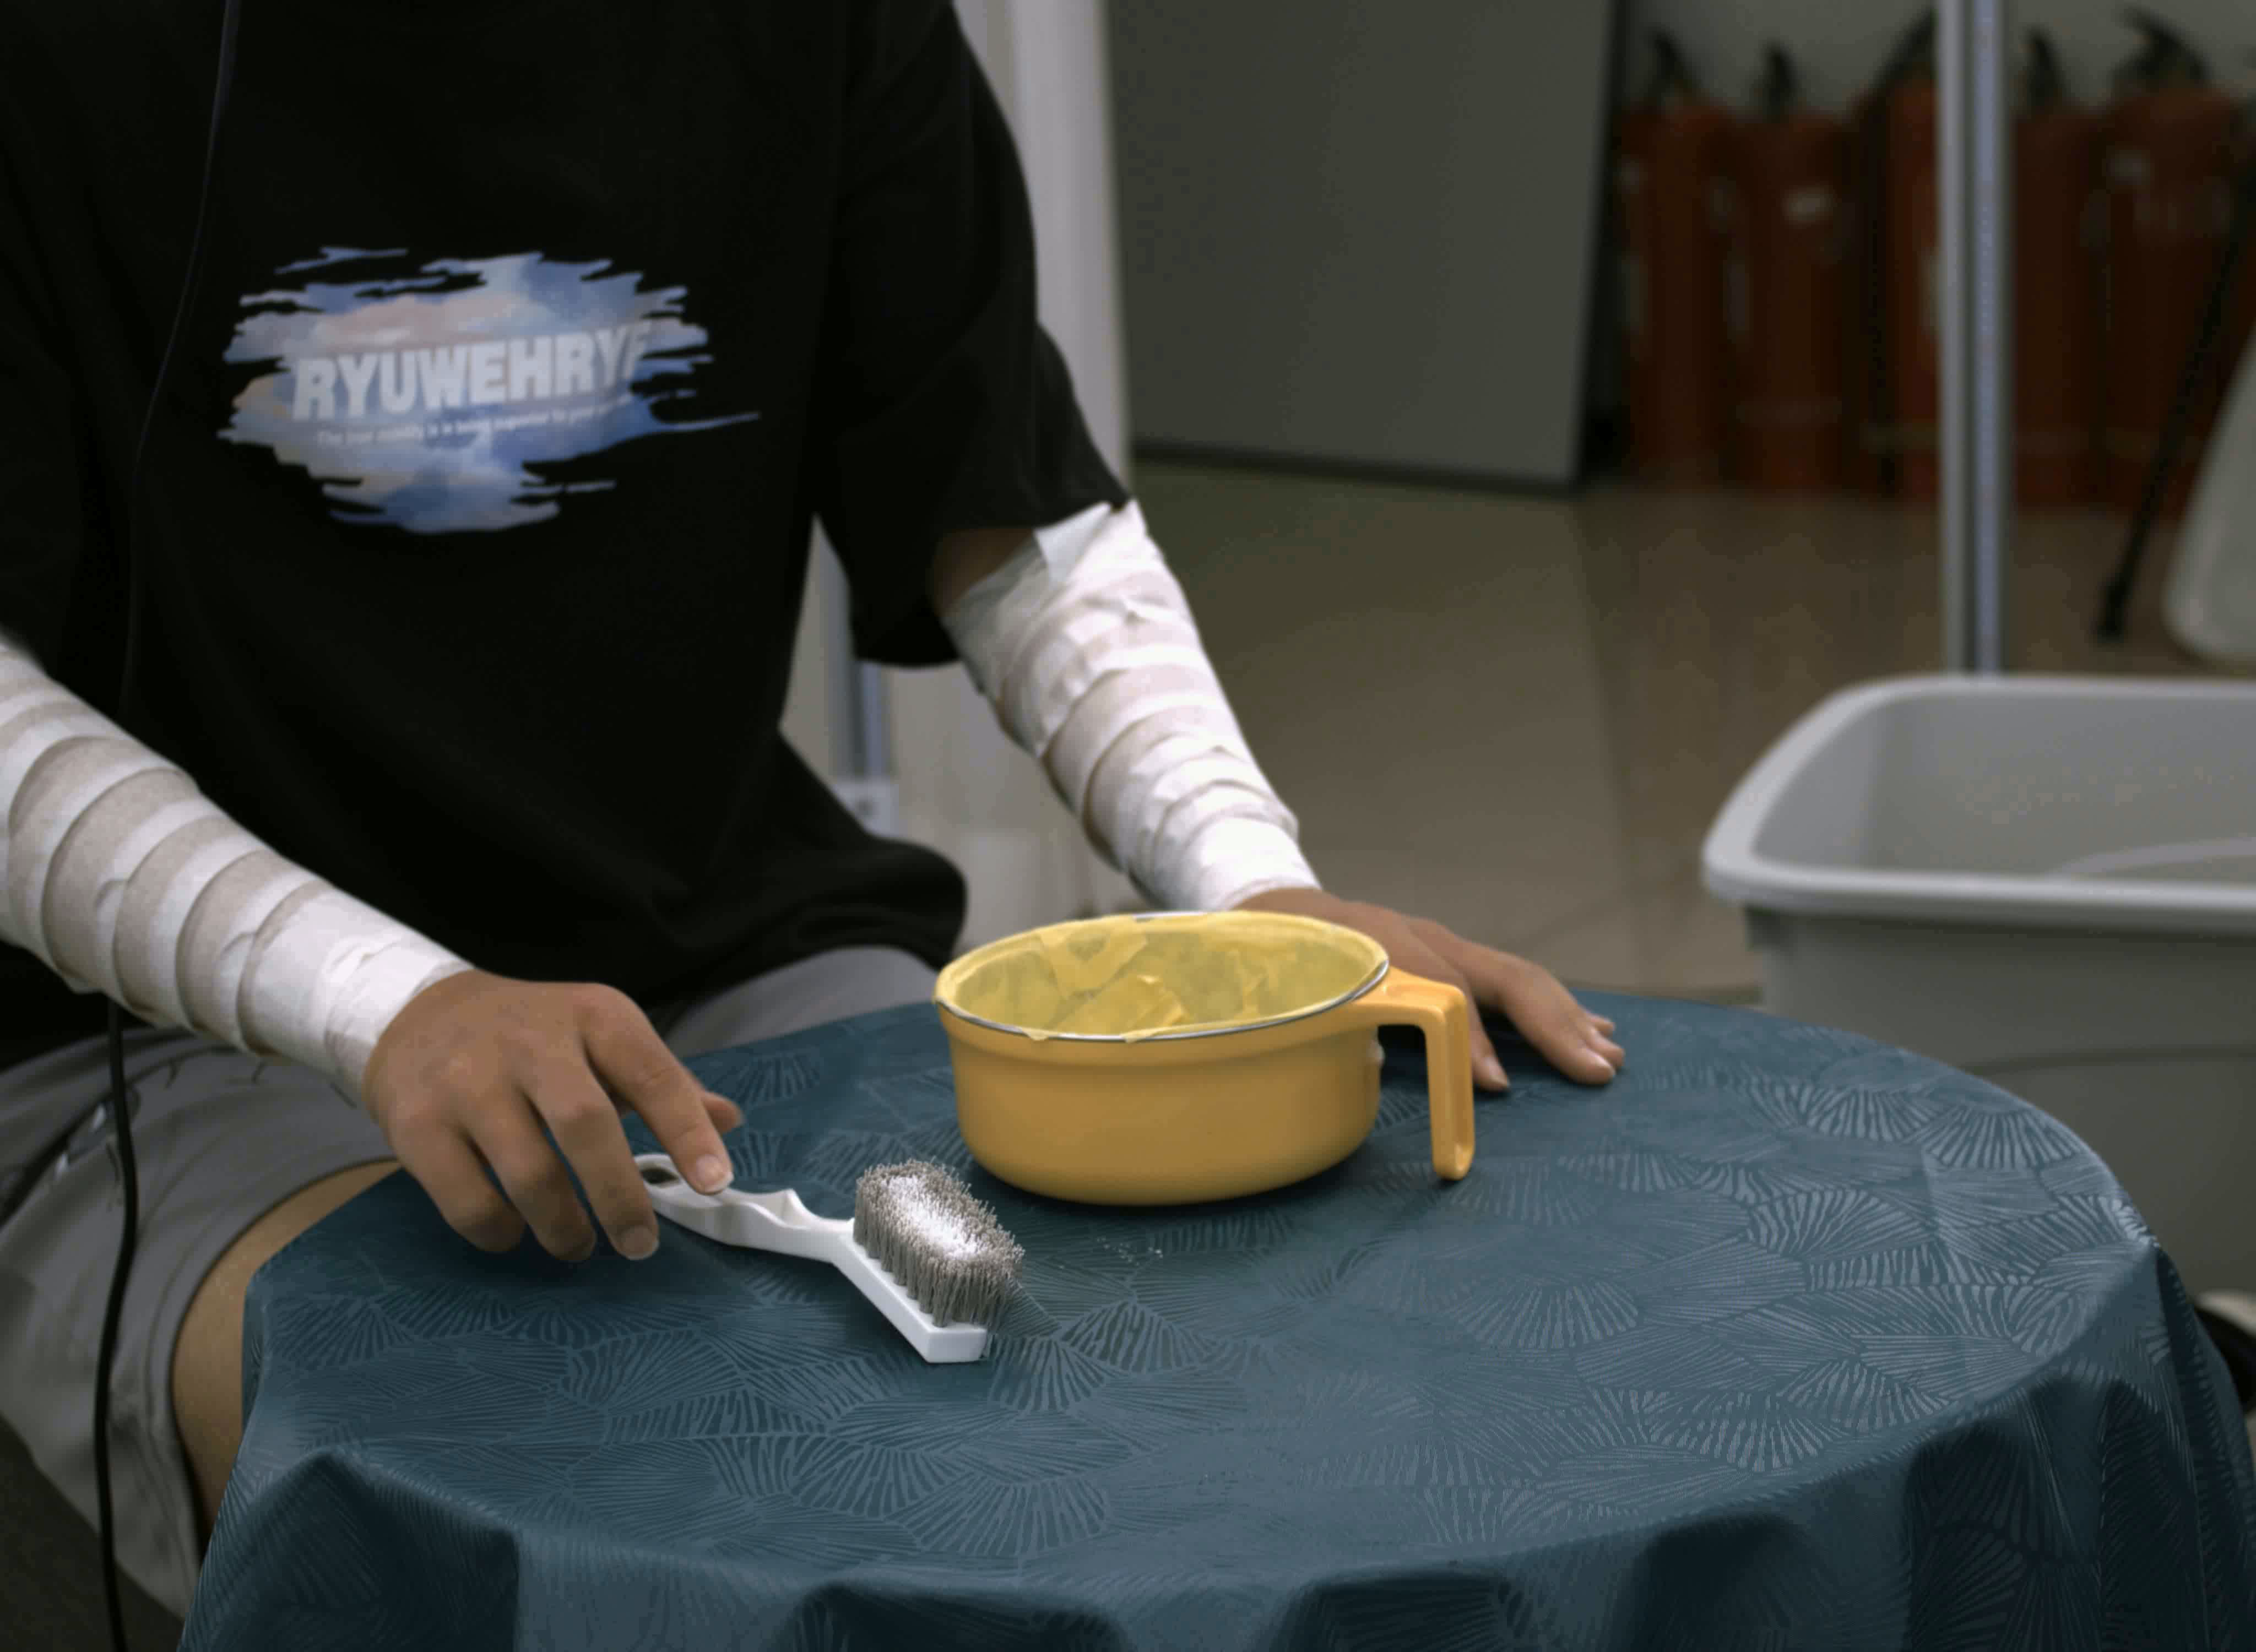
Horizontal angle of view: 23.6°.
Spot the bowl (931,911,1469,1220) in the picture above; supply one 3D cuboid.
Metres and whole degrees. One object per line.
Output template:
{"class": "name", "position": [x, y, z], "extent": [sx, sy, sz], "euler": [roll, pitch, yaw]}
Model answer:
{"class": "bowl", "position": [0.025, 0.082, 1.788], "extent": [0.179, 0.075, 0.151], "euler": [0, 13, 19]}

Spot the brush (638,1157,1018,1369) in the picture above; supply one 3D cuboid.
{"class": "brush", "position": [-0.101, 0.118, 1.711], "extent": [0.033, 0.051, 0.246], "euler": [-12, 16, -26]}
